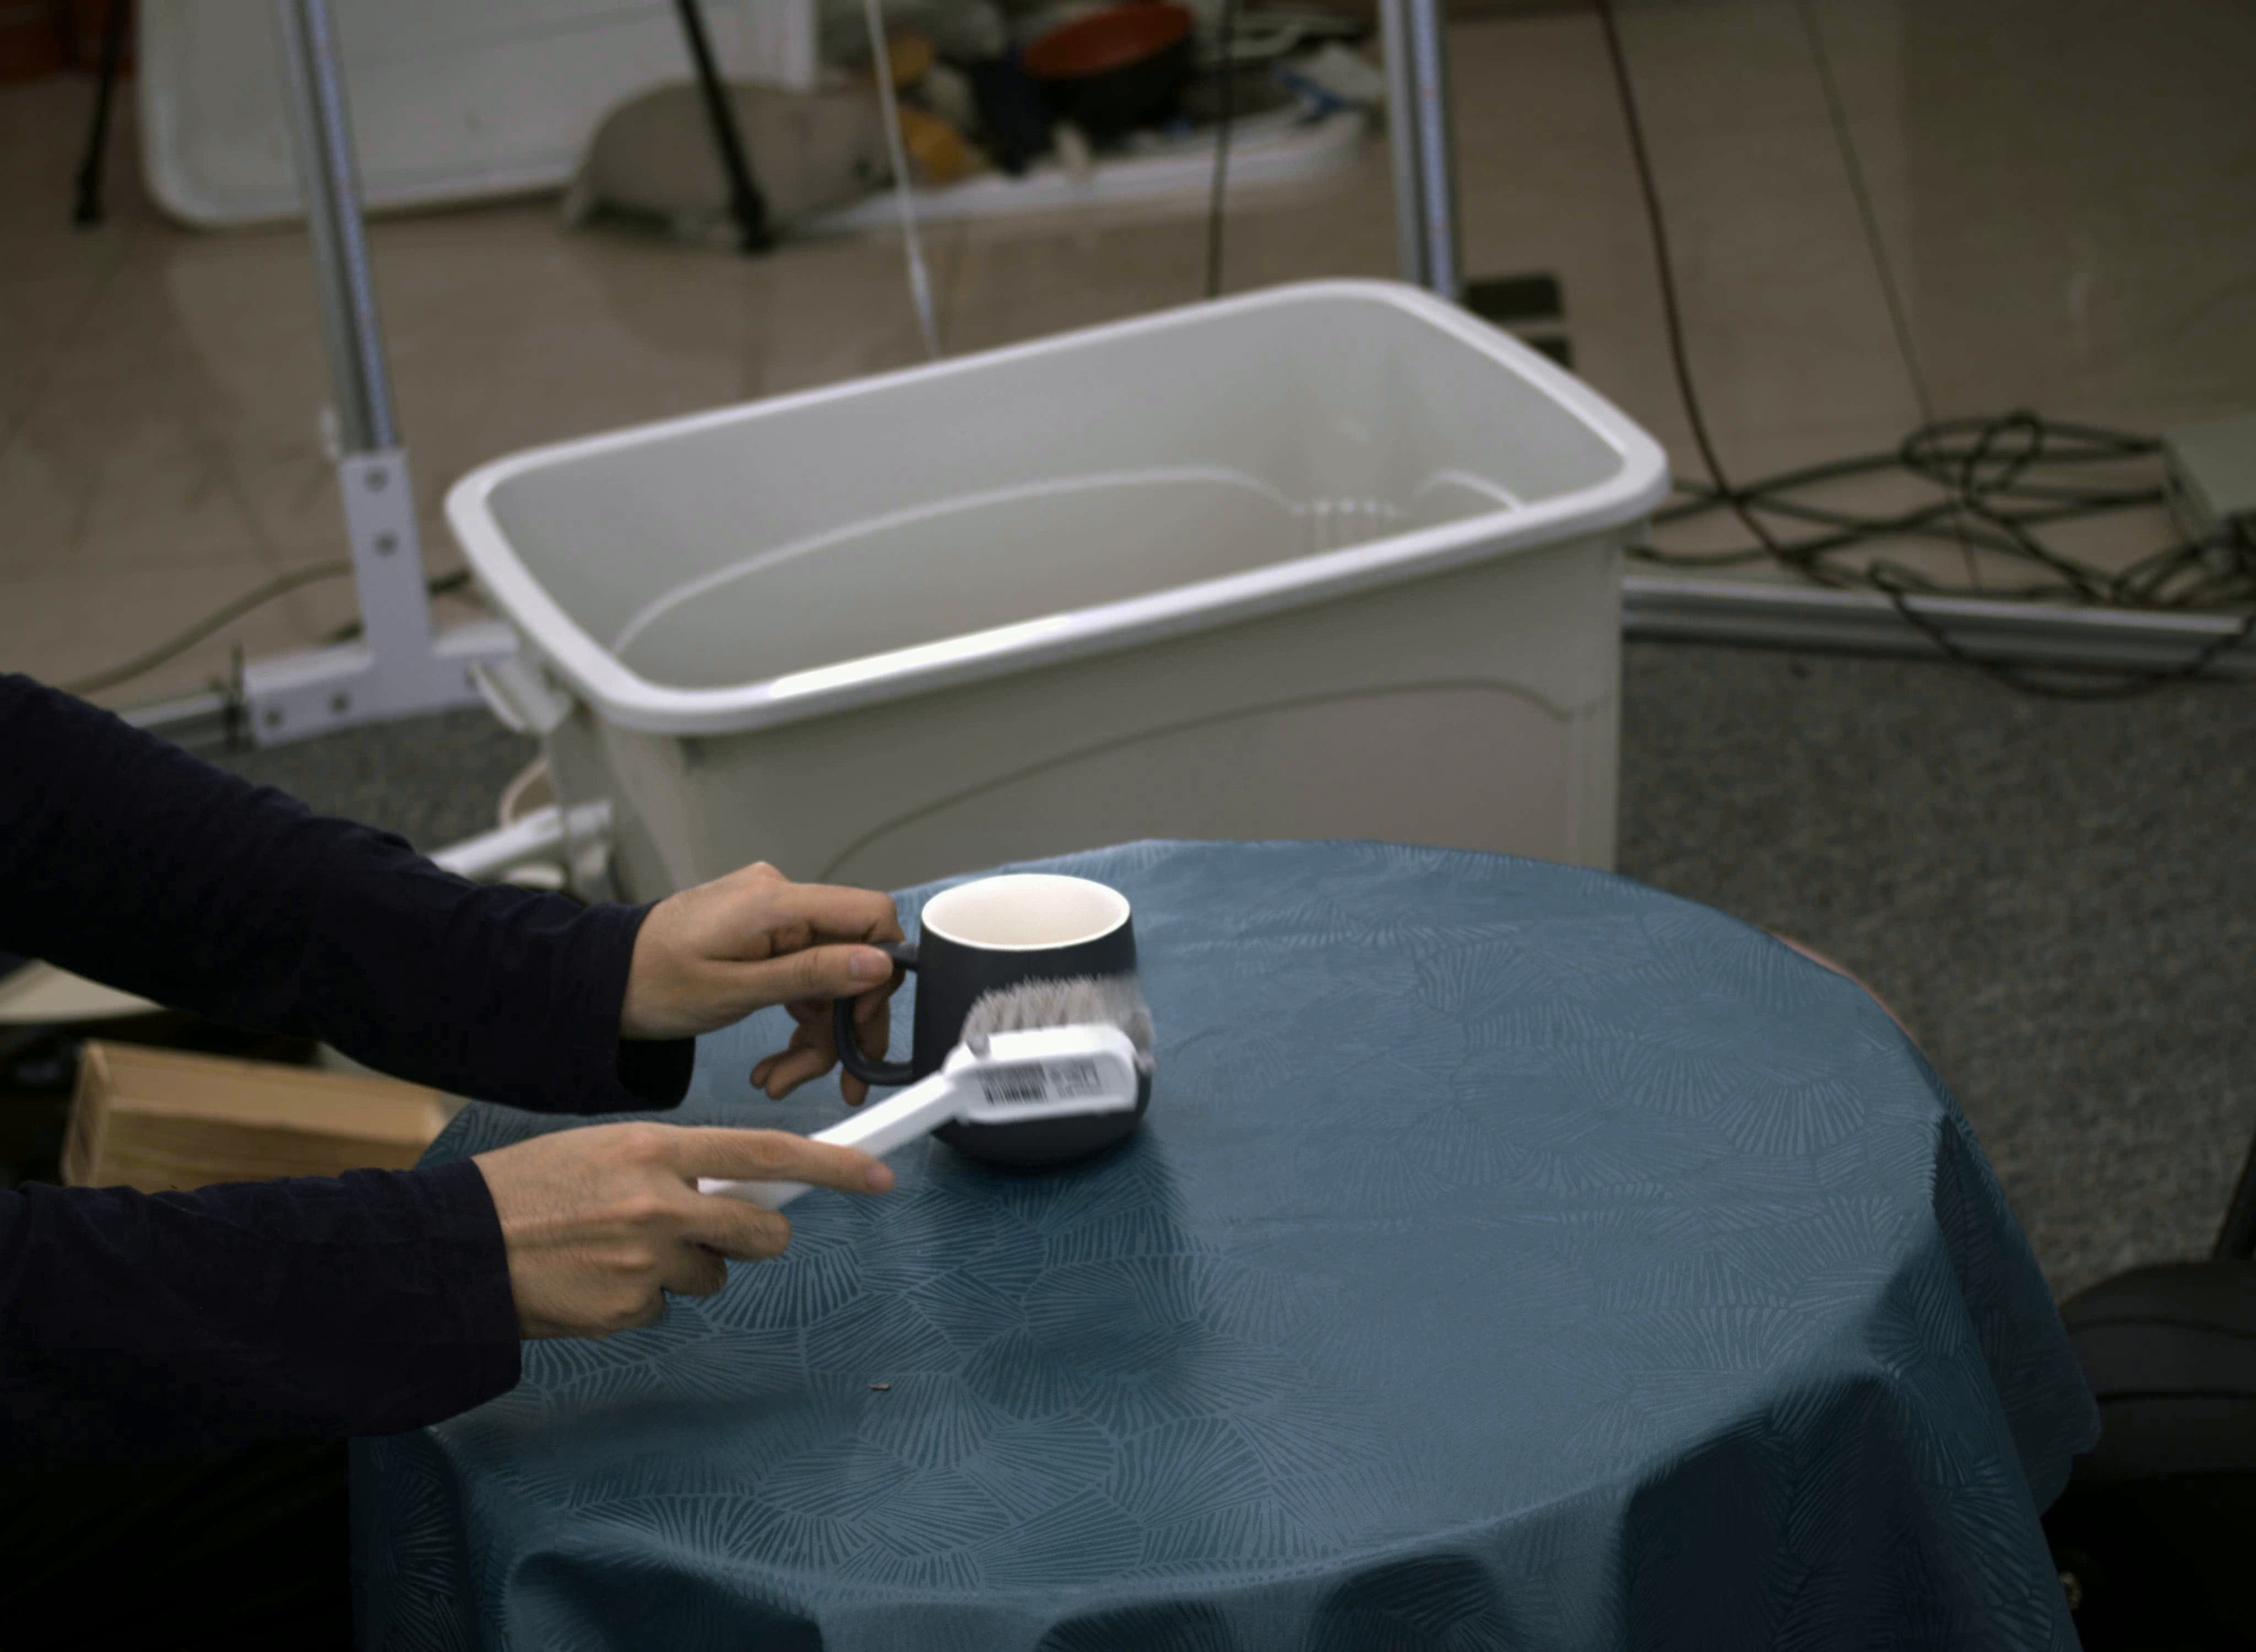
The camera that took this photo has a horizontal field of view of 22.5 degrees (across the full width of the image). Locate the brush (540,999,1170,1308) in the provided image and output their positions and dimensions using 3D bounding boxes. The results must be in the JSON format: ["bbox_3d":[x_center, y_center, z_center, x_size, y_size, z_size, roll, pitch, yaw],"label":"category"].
[{"bbox_3d":[-0.100,0.114,2.041,0.243,0.035,0.049,-19,59,5],"label":"brush"}]

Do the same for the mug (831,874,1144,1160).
[{"bbox_3d":[-0.054,0.073,2.181,0.123,0.091,0.092,3,21,8],"label":"mug"}]
